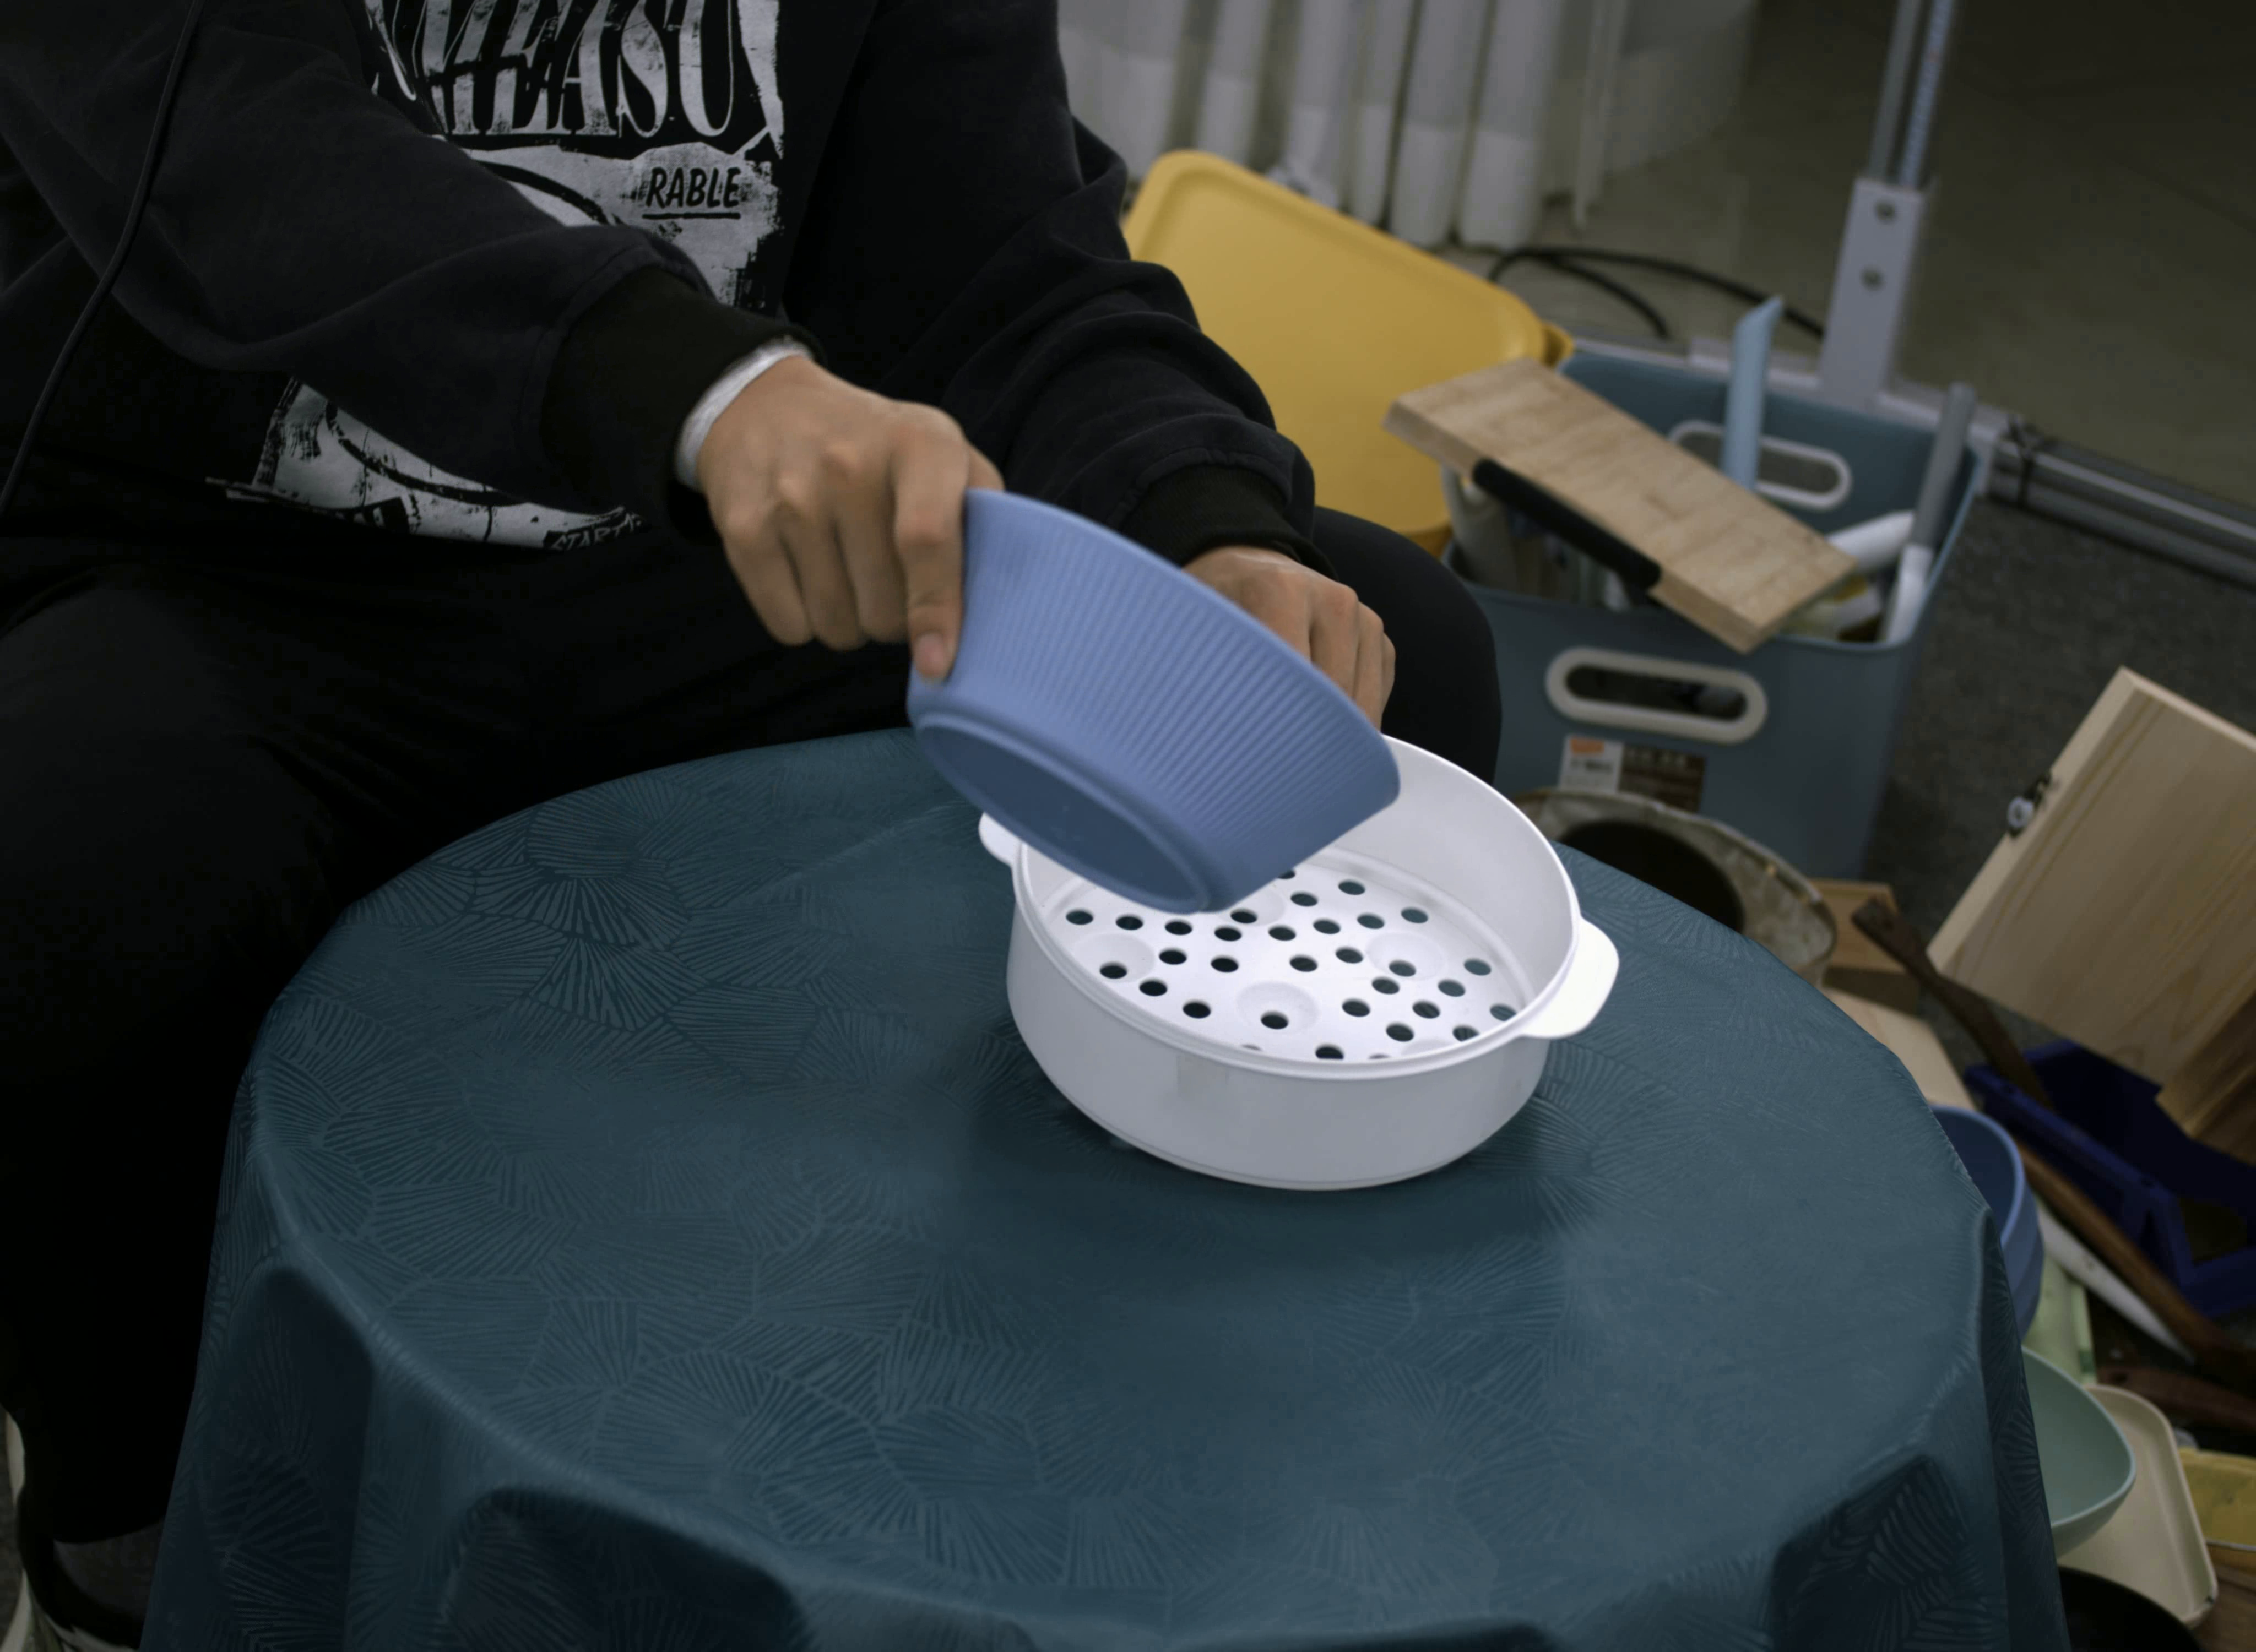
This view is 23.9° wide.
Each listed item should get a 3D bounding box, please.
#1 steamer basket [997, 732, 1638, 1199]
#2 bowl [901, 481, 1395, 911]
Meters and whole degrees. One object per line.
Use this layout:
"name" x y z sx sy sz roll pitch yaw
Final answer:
"steamer basket" 0.061 0.047 1.867 0.231 0.069 0.202 19 38 12
"bowl" -0.006 -0.031 1.696 0.177 0.174 0.070 25 75 32
